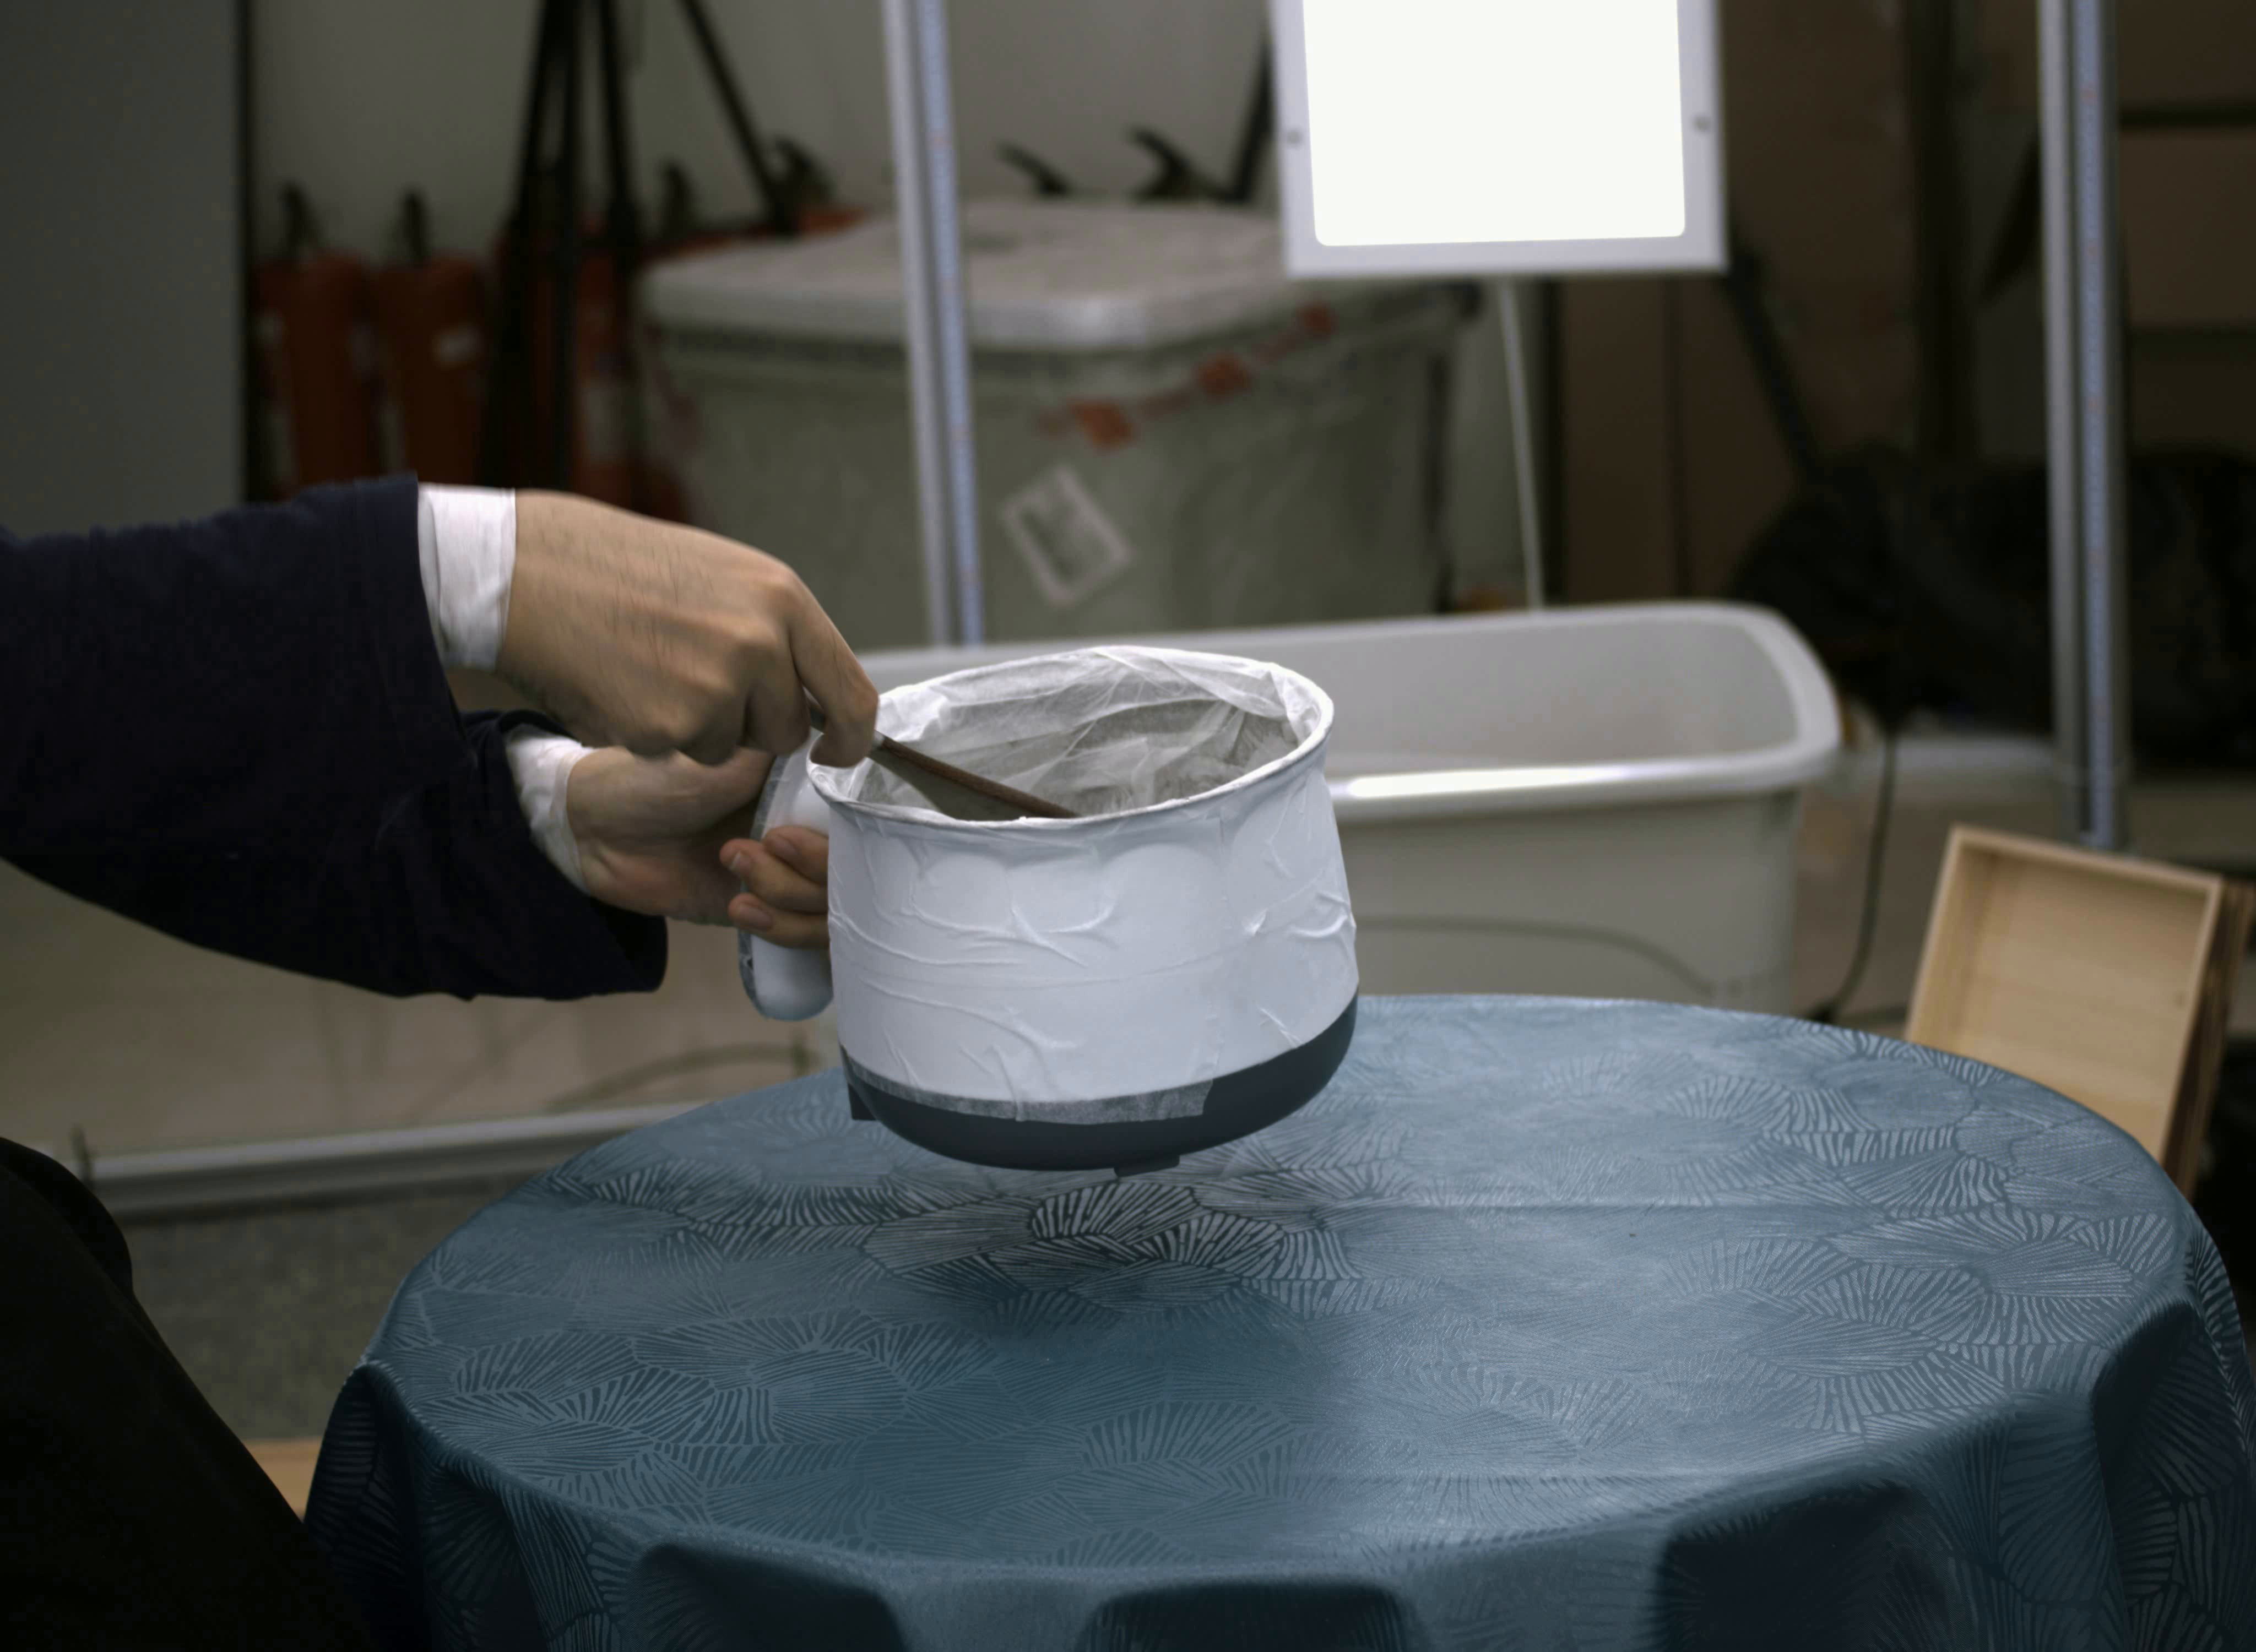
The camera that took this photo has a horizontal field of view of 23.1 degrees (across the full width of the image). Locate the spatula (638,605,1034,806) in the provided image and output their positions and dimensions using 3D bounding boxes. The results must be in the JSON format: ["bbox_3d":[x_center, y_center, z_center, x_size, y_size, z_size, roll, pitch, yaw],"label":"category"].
[{"bbox_3d":[-0.075,-0.017,1.781,0.212,0.009,0.073,32,-22,-27],"label":"spatula"}]

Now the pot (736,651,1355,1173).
[{"bbox_3d":[-0.036,0.025,1.863,0.238,0.137,0.174,8,21,33],"label":"pot"}]
